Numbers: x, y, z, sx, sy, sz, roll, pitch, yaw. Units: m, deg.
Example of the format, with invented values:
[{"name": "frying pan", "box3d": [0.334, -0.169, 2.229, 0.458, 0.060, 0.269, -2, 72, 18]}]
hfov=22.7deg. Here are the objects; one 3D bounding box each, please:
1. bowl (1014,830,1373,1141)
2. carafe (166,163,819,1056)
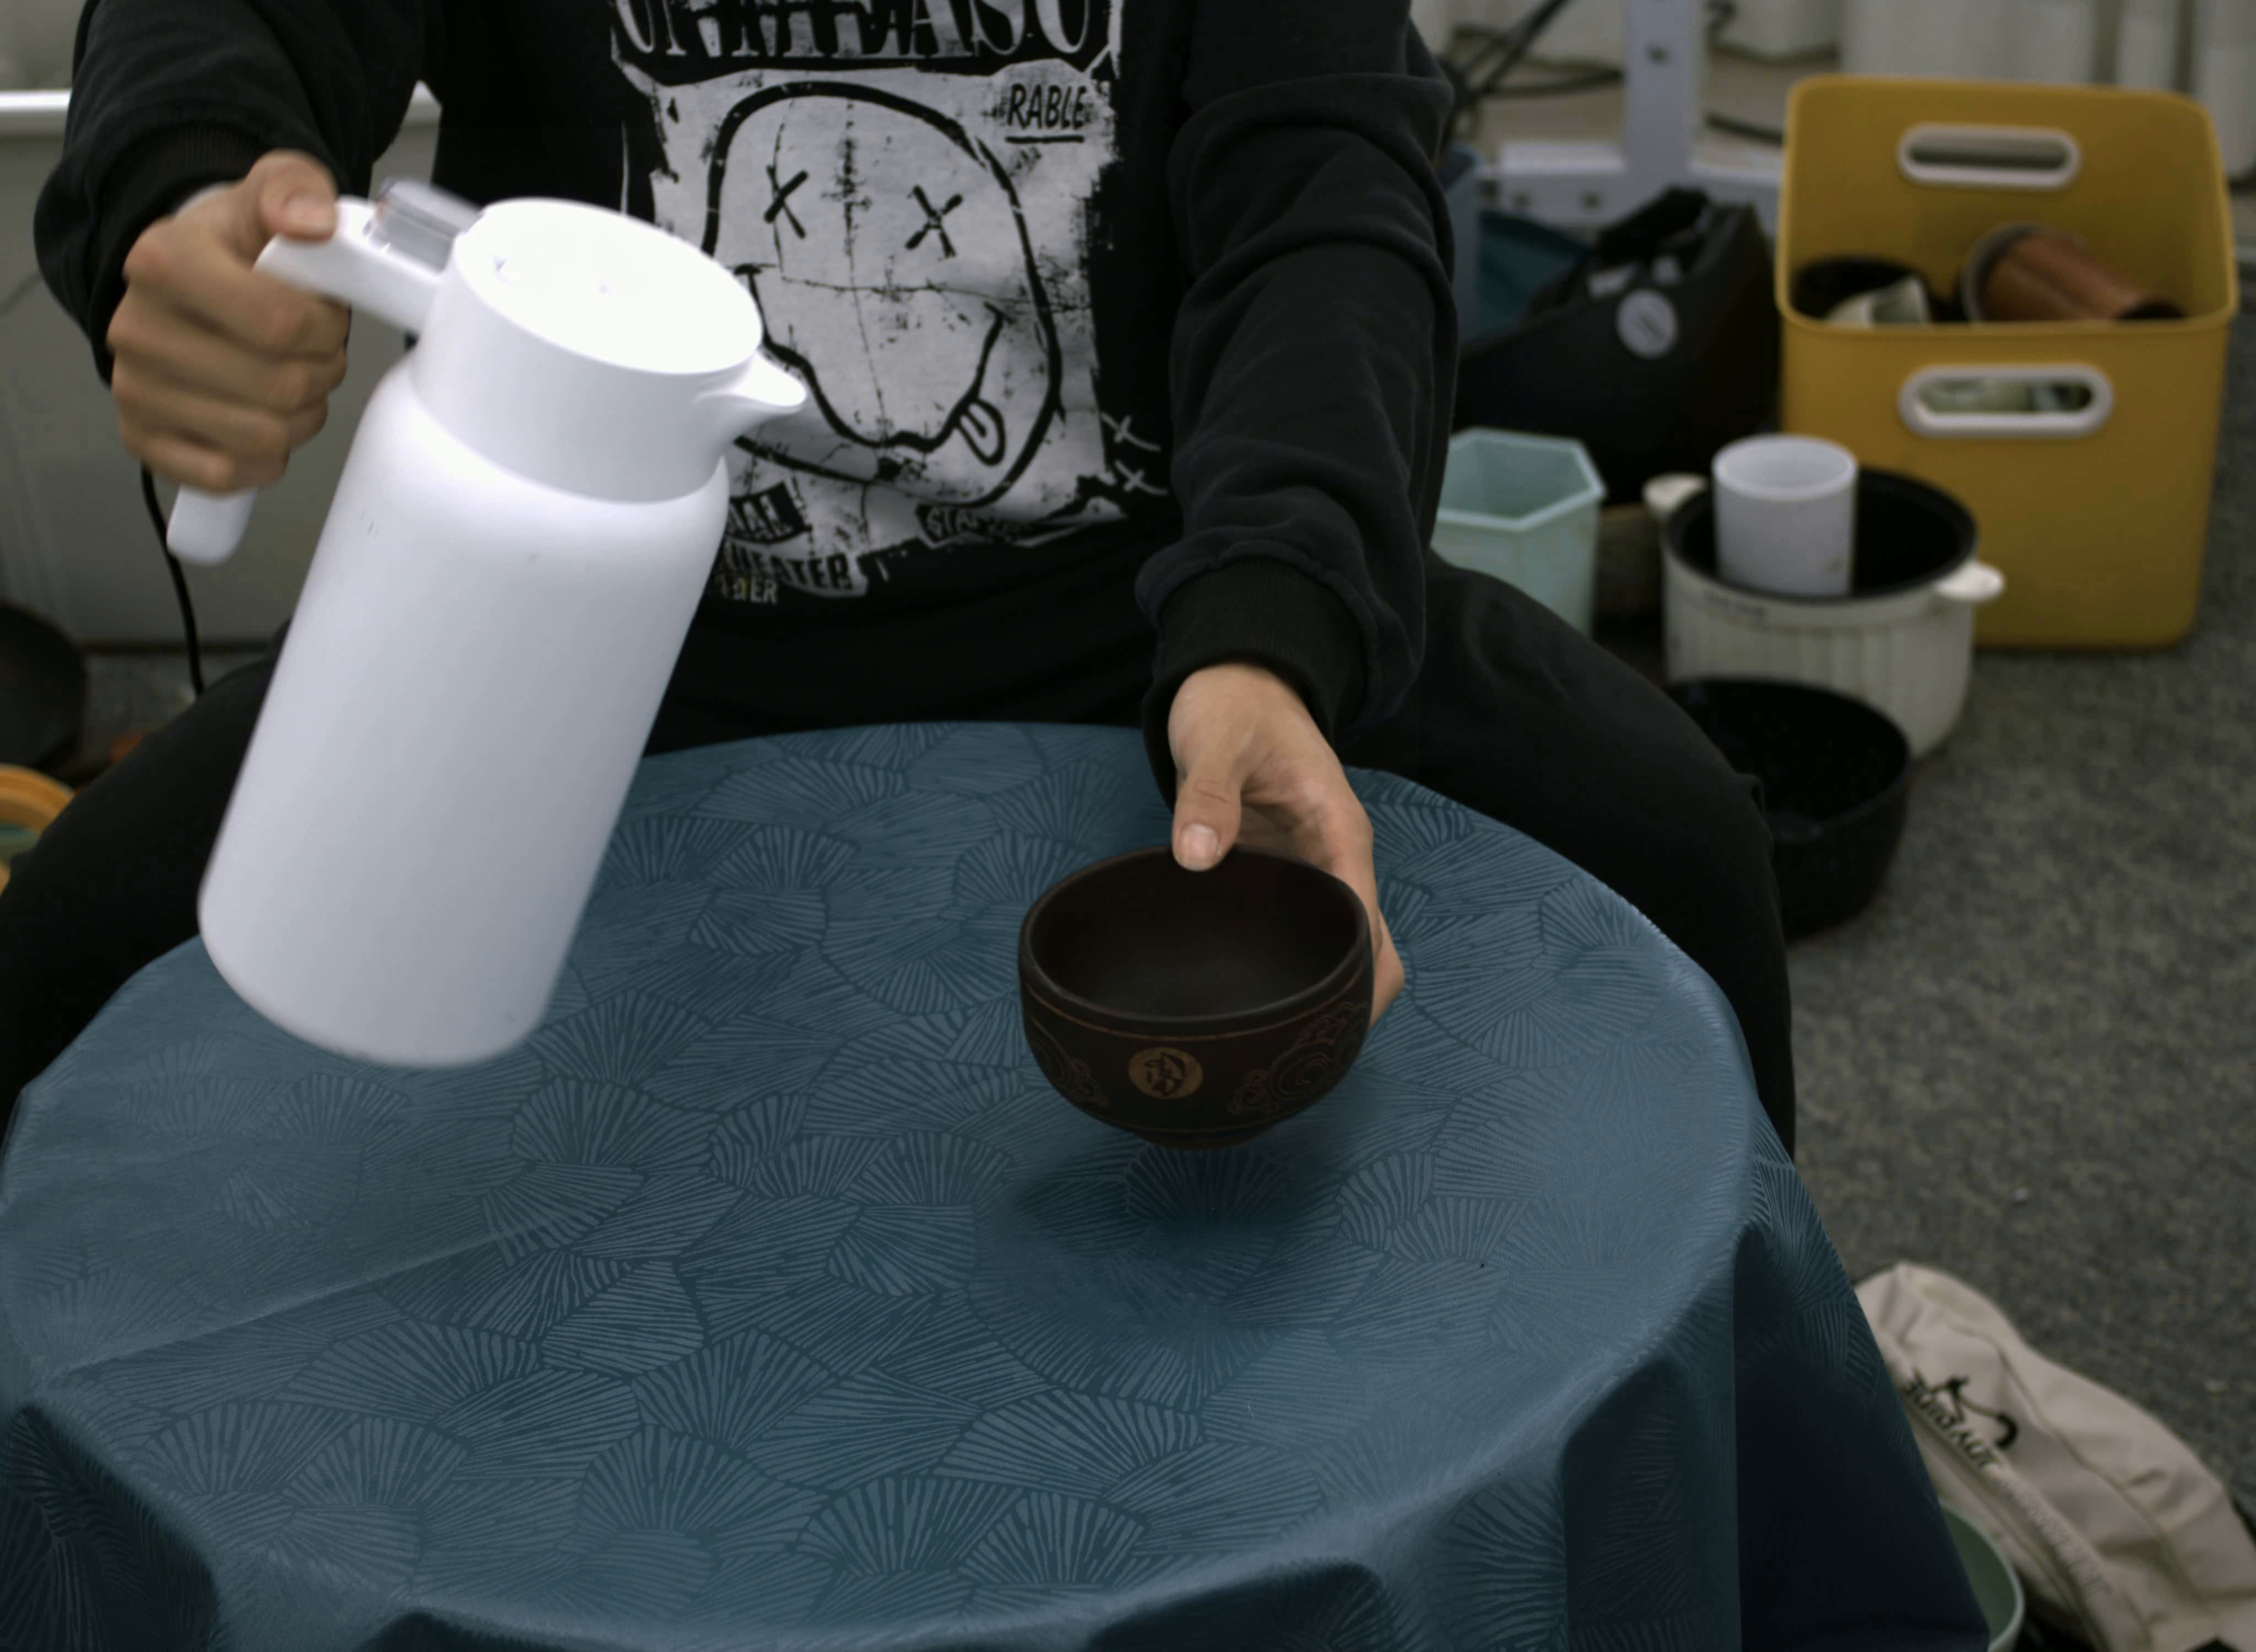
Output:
[{"name": "bowl", "box3d": [0.022, 0.059, 1.842, 0.117, 0.069, 0.120, -2, 28, 2]}, {"name": "carafe", "box3d": [-0.218, -0.070, 1.761, 0.172, 0.265, 0.126, 25, 28, 0]}]
